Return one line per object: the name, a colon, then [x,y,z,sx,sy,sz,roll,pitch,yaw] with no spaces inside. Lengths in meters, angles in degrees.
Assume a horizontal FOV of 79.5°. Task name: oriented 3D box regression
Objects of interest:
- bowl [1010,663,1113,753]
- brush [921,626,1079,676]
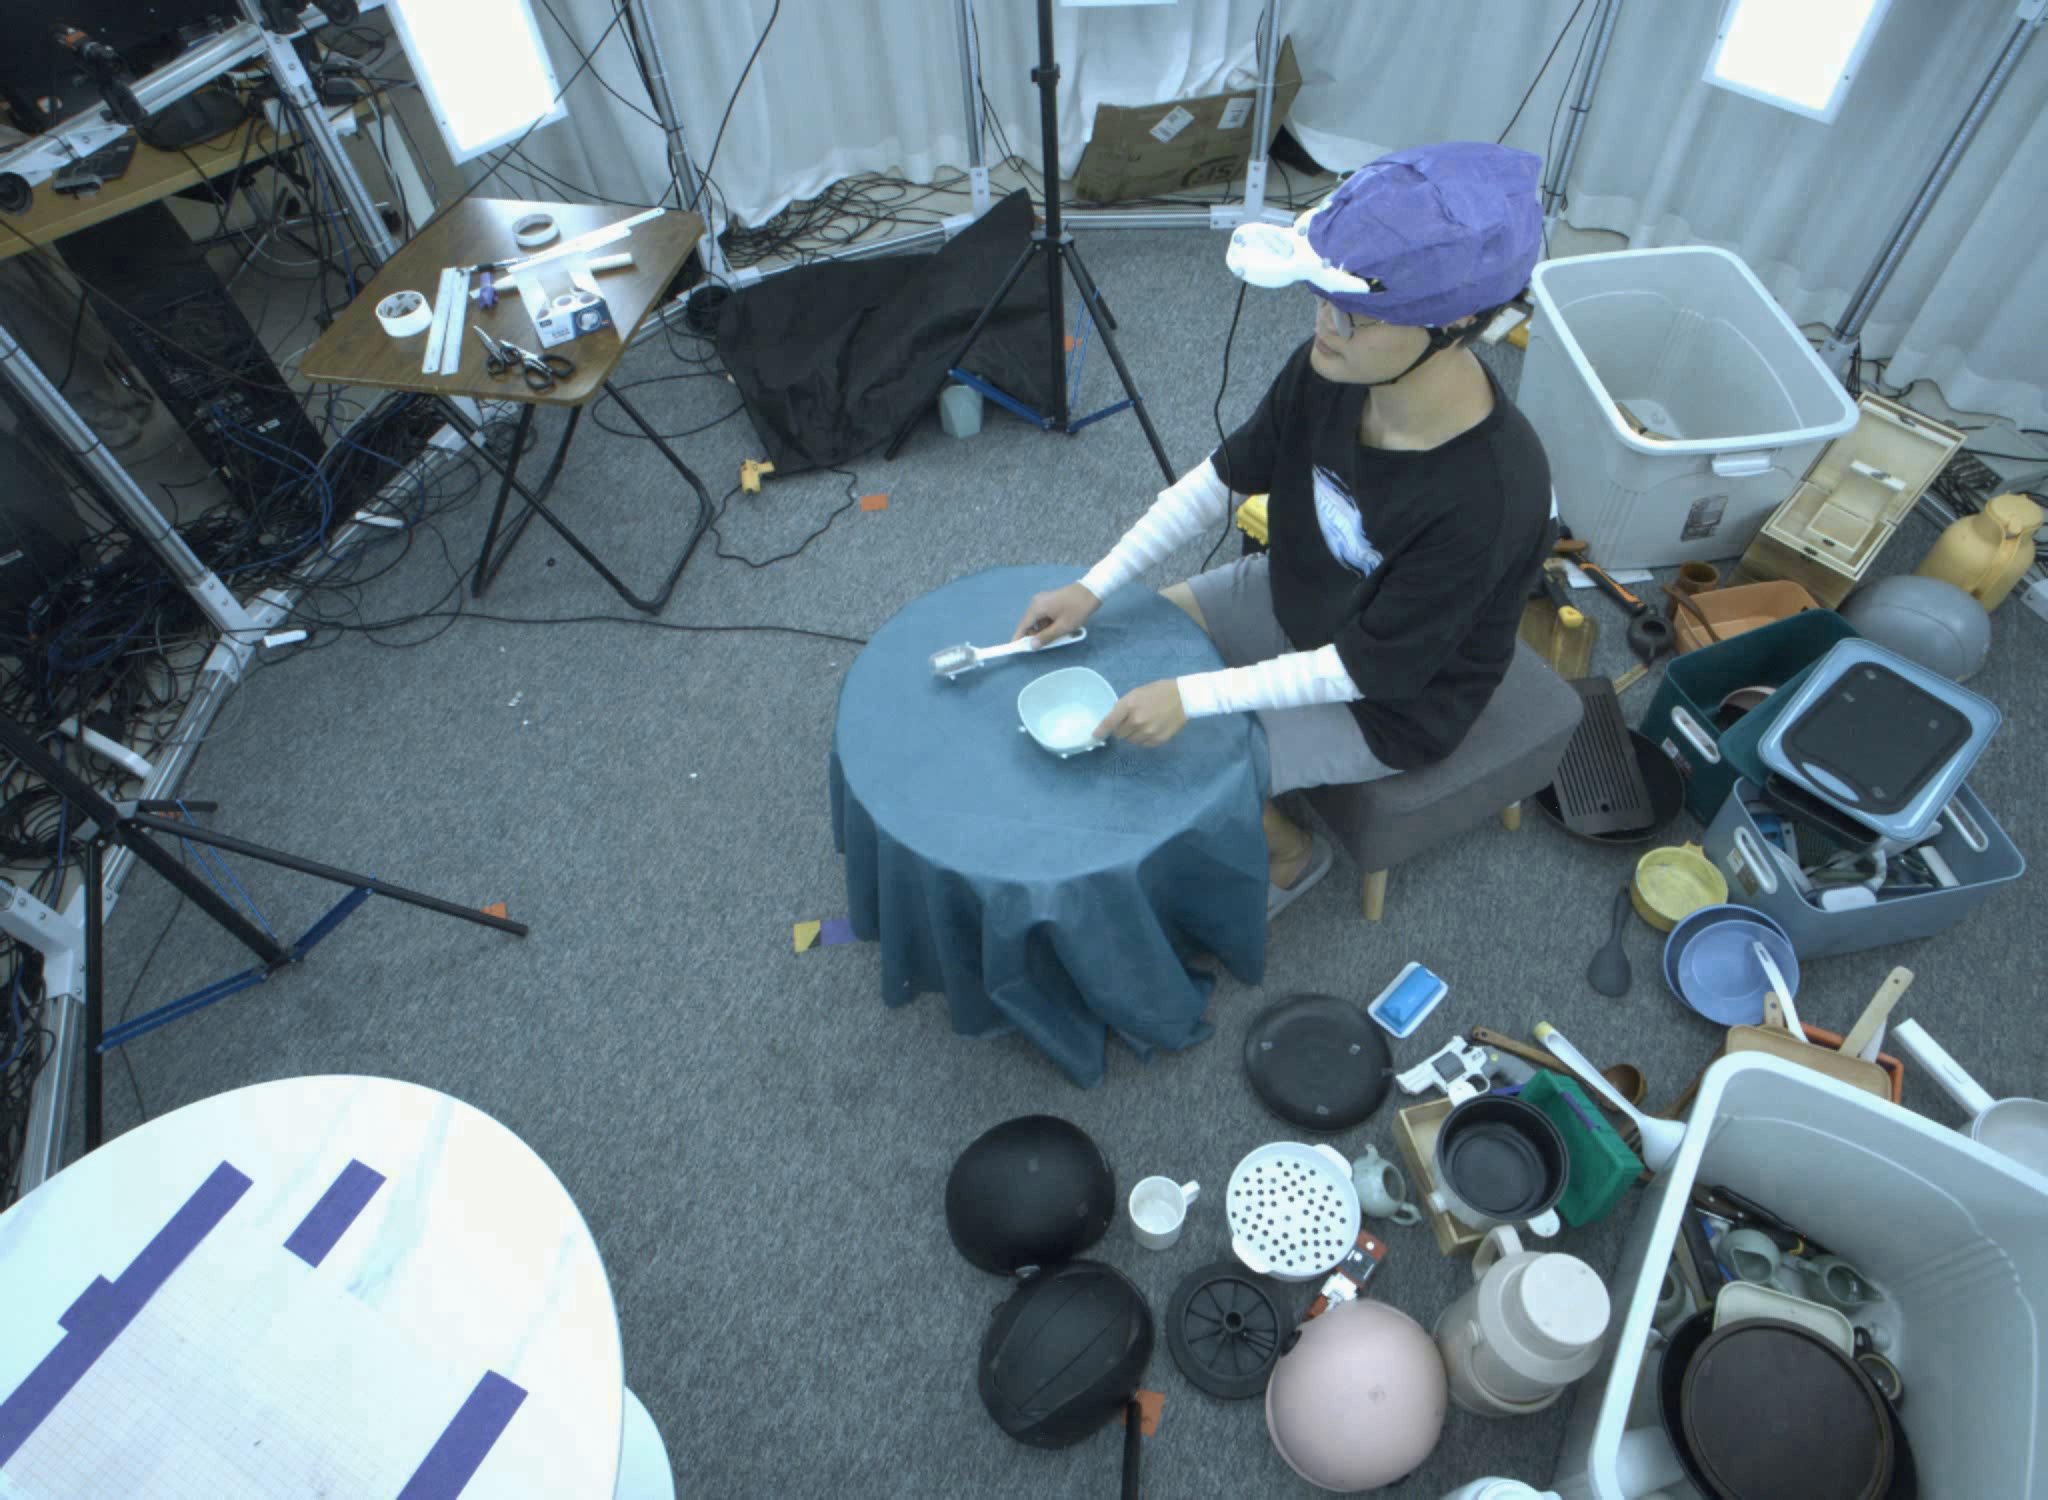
bowl: [0.054,-0.050,1.776,0.151,0.059,0.150,-1,57,2]
brush: [-0.035,-0.156,1.850,0.244,0.050,0.034,-13,81,-4]
